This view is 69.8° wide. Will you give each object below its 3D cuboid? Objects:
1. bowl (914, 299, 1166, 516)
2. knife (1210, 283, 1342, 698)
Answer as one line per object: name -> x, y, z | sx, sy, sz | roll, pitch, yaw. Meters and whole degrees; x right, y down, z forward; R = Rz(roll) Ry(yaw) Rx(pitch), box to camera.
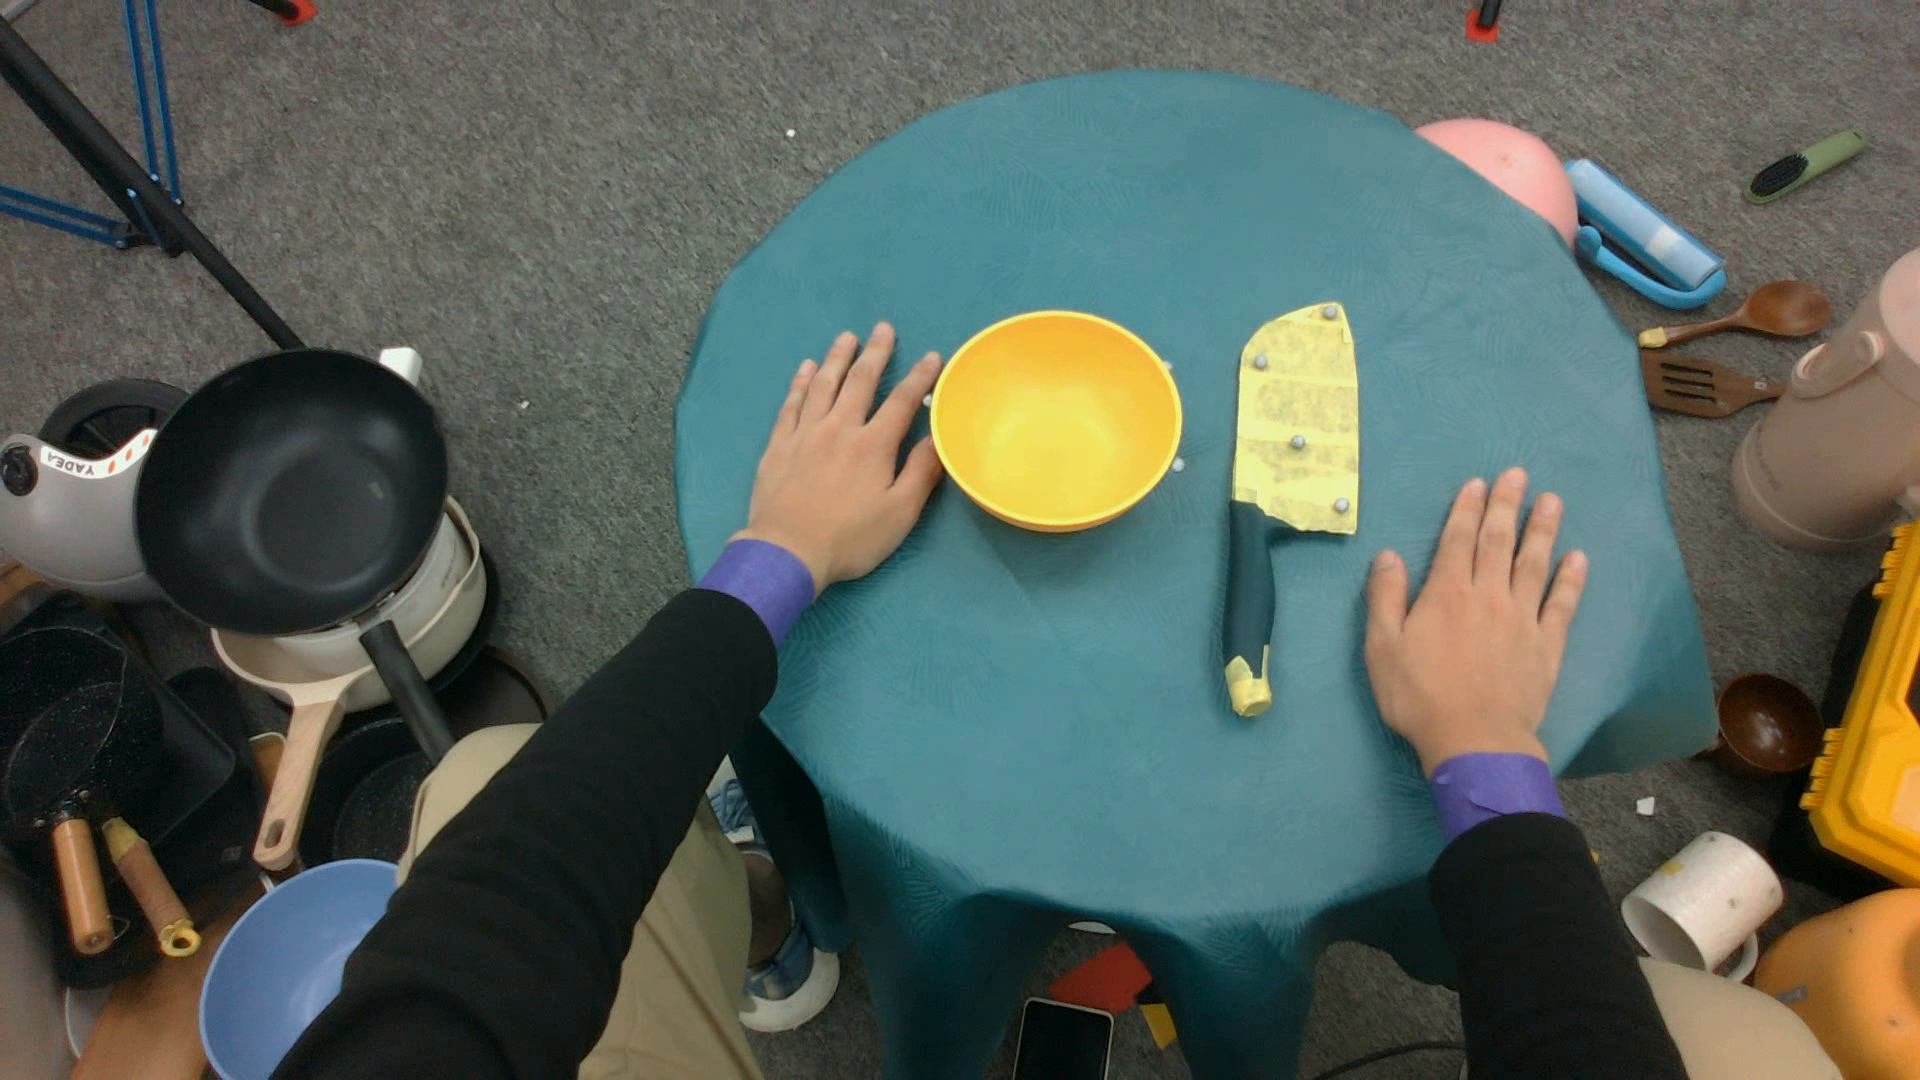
bowl -> 0.047, -0.068, 0.813 | 0.145, 0.060, 0.146 | -2, 62, 3
knife -> 0.186, -0.039, 0.819 | 0.081, 0.027, 0.290 | 8, 62, 7
